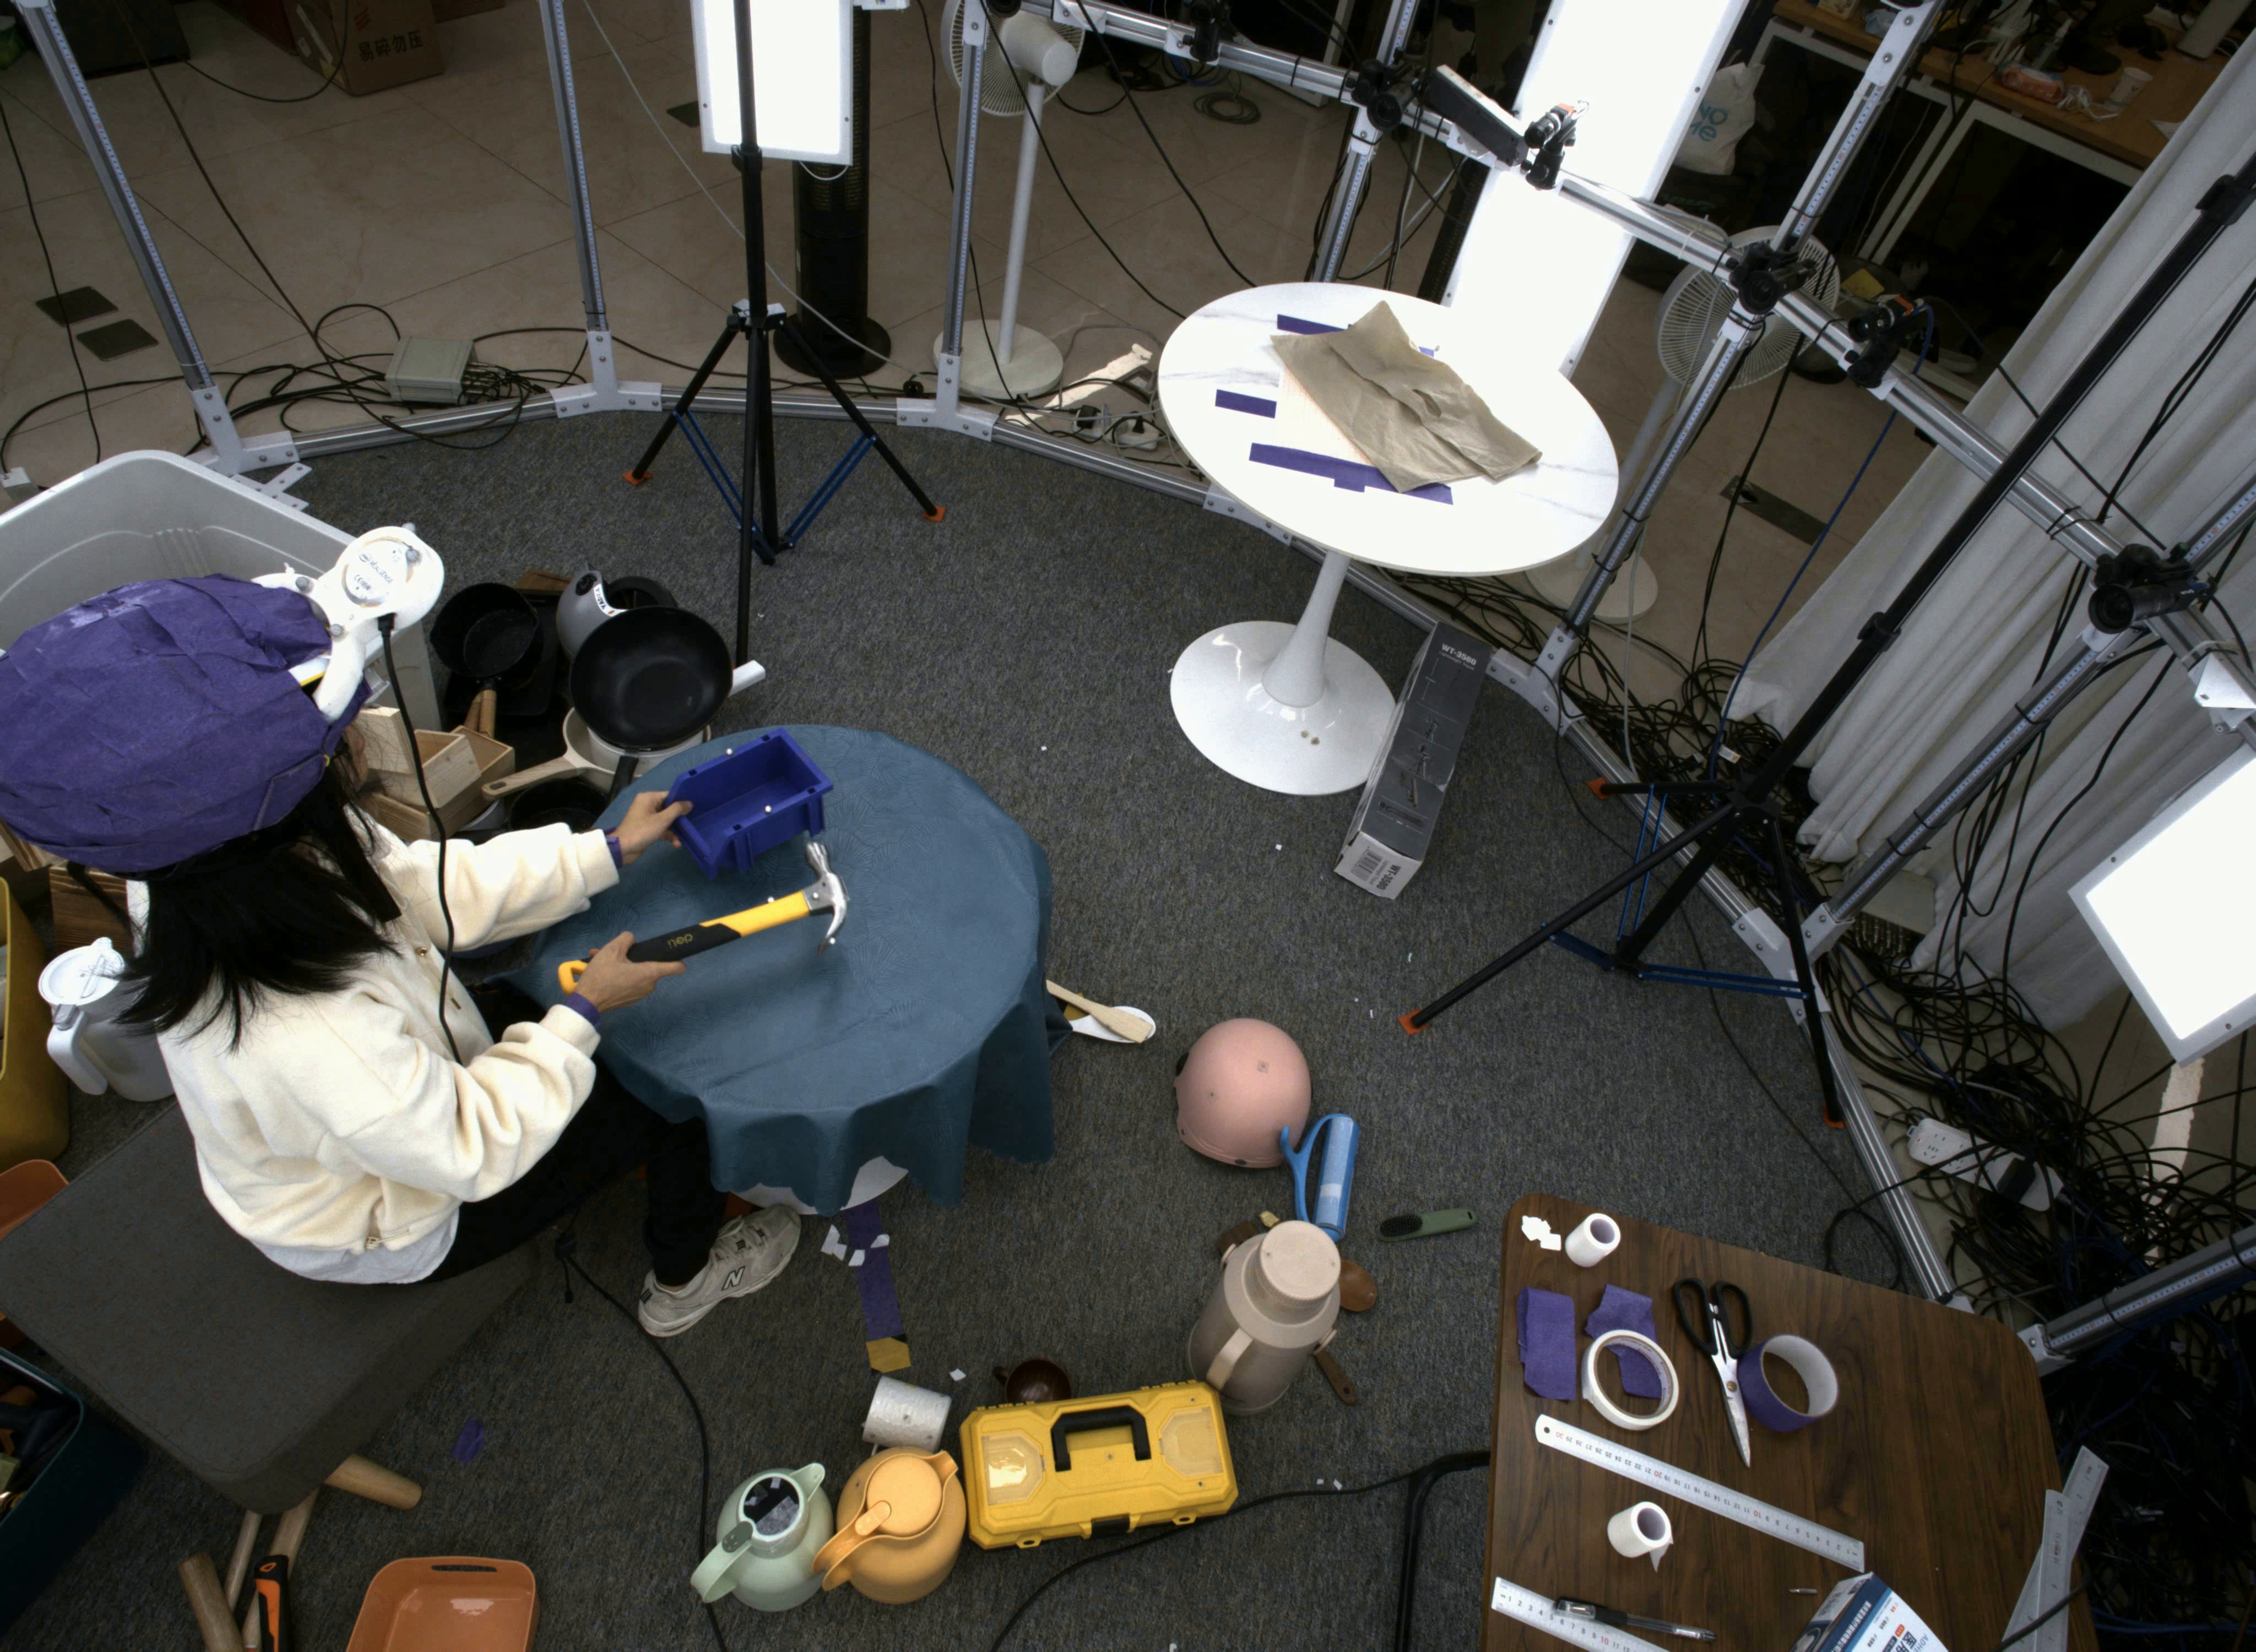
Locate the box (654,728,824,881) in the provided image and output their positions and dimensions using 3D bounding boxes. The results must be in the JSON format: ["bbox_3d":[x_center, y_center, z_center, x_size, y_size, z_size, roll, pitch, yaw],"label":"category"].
[{"bbox_3d":[-0.486,-0.024,1.613,0.180,0.084,0.121,-29,62,-32],"label":"box"}]

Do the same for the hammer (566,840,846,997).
[{"bbox_3d":[-0.490,0.122,1.493,0.340,0.032,0.129,-18,70,-24],"label":"hammer"}]
